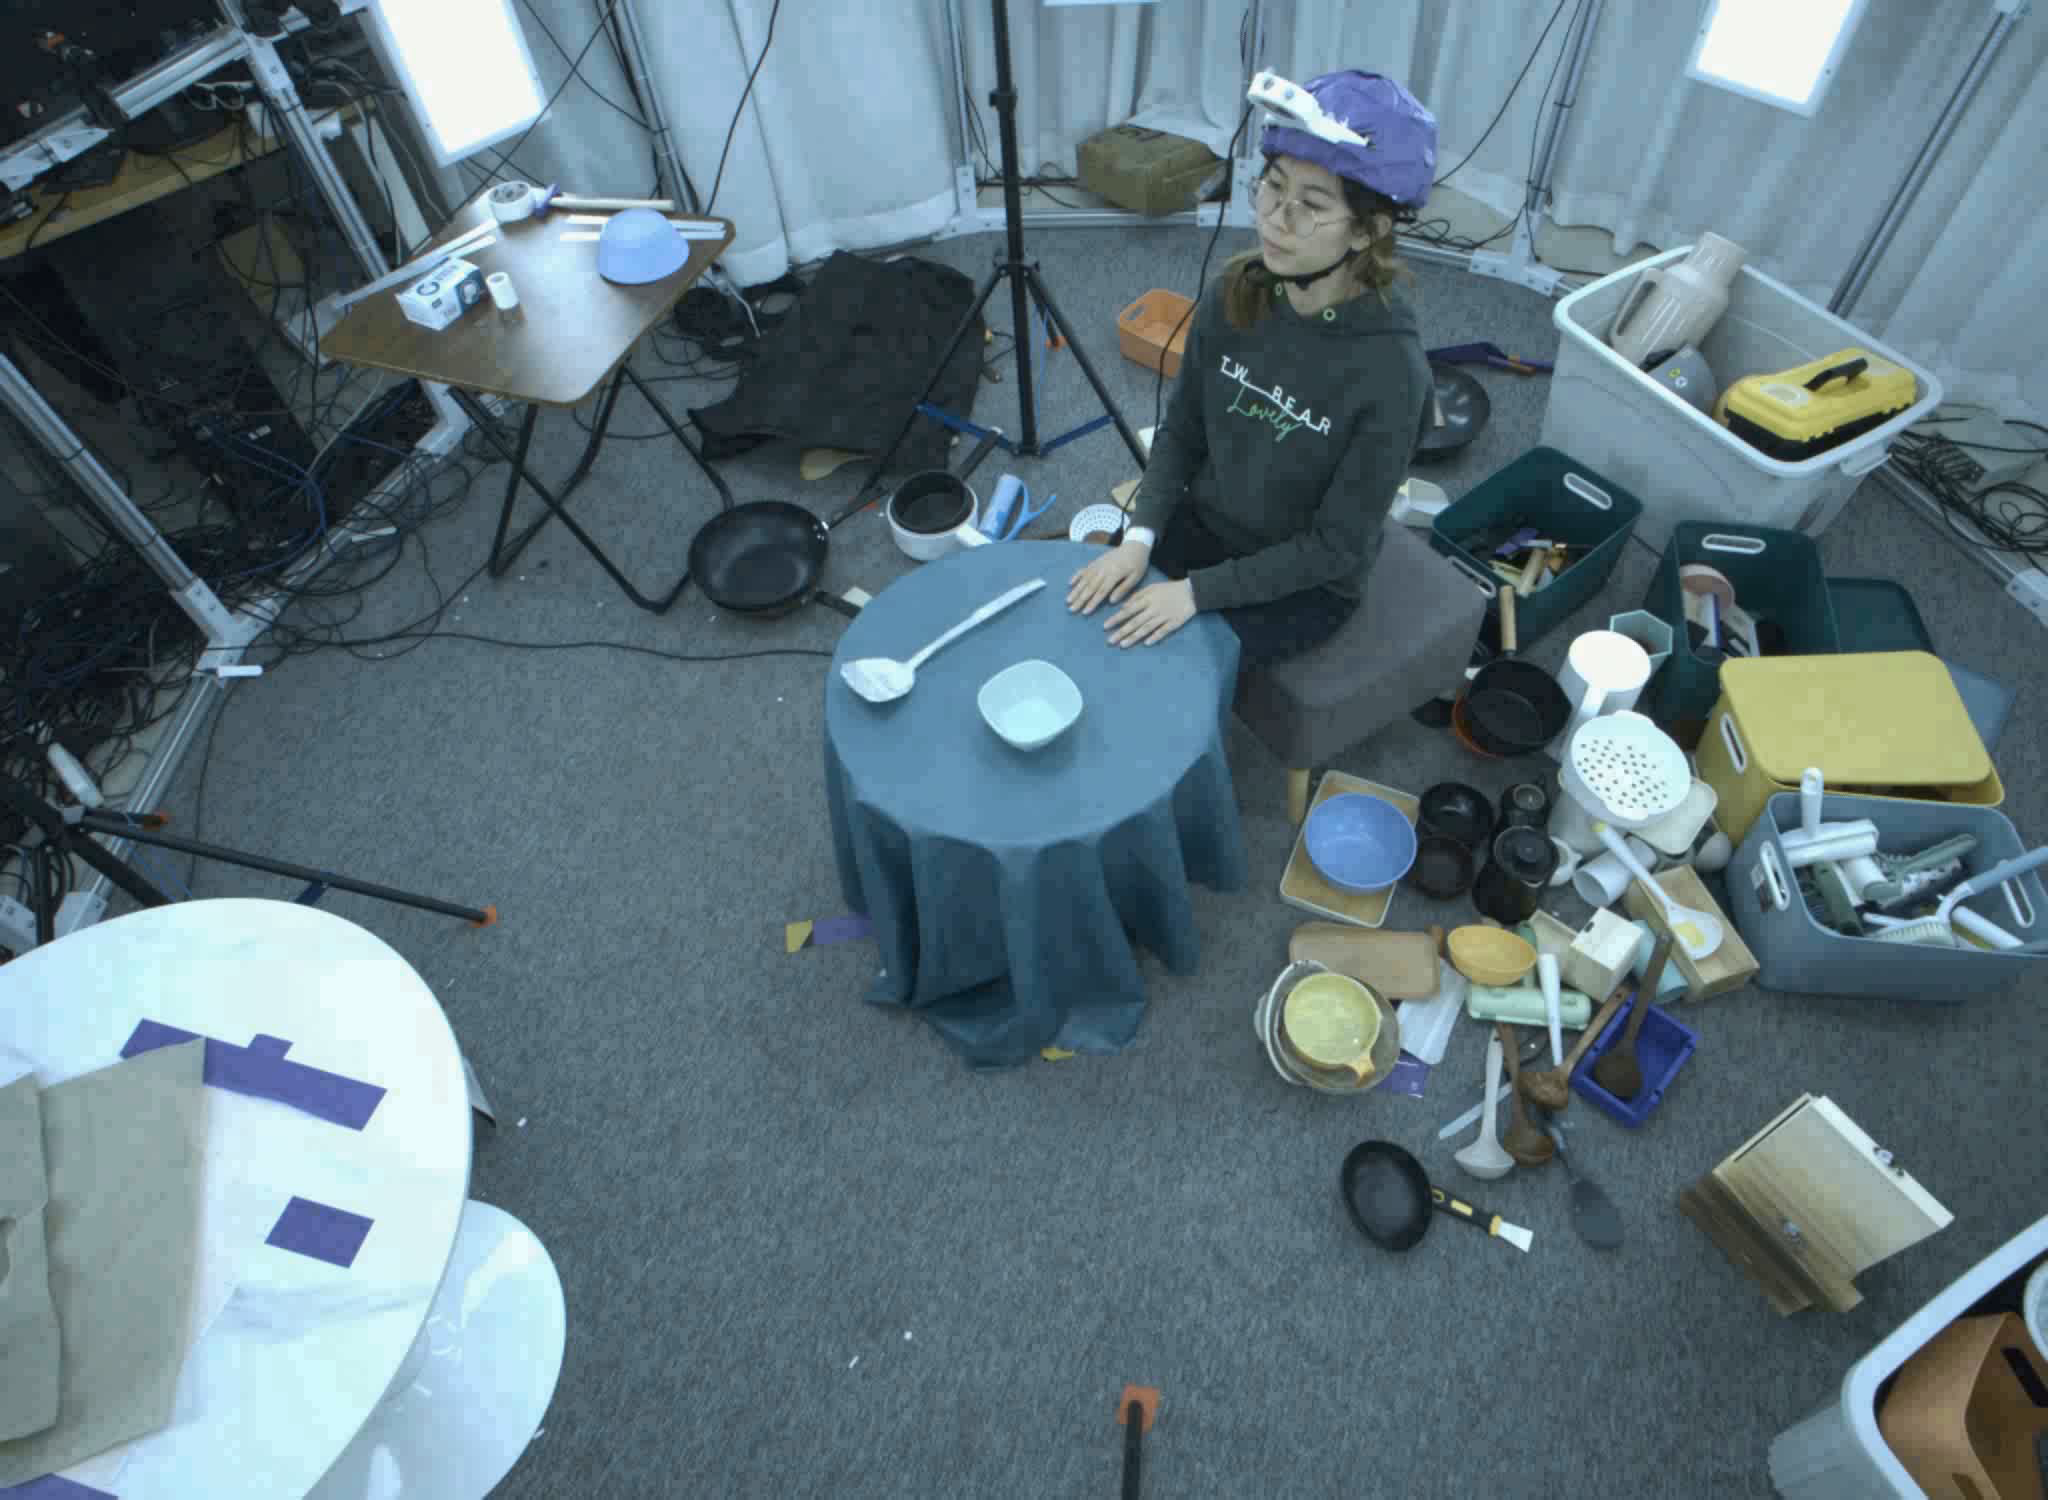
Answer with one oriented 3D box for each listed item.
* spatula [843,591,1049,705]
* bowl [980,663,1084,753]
[{"bbox_3d":[-0.111,-0.173,1.899,0.368,0.045,0.097,-34,59,-20],"label":"spatula"},{"bbox_3d":[0.013,-0.051,1.800,0.151,0.059,0.150,0,57,1],"label":"bowl"}]
